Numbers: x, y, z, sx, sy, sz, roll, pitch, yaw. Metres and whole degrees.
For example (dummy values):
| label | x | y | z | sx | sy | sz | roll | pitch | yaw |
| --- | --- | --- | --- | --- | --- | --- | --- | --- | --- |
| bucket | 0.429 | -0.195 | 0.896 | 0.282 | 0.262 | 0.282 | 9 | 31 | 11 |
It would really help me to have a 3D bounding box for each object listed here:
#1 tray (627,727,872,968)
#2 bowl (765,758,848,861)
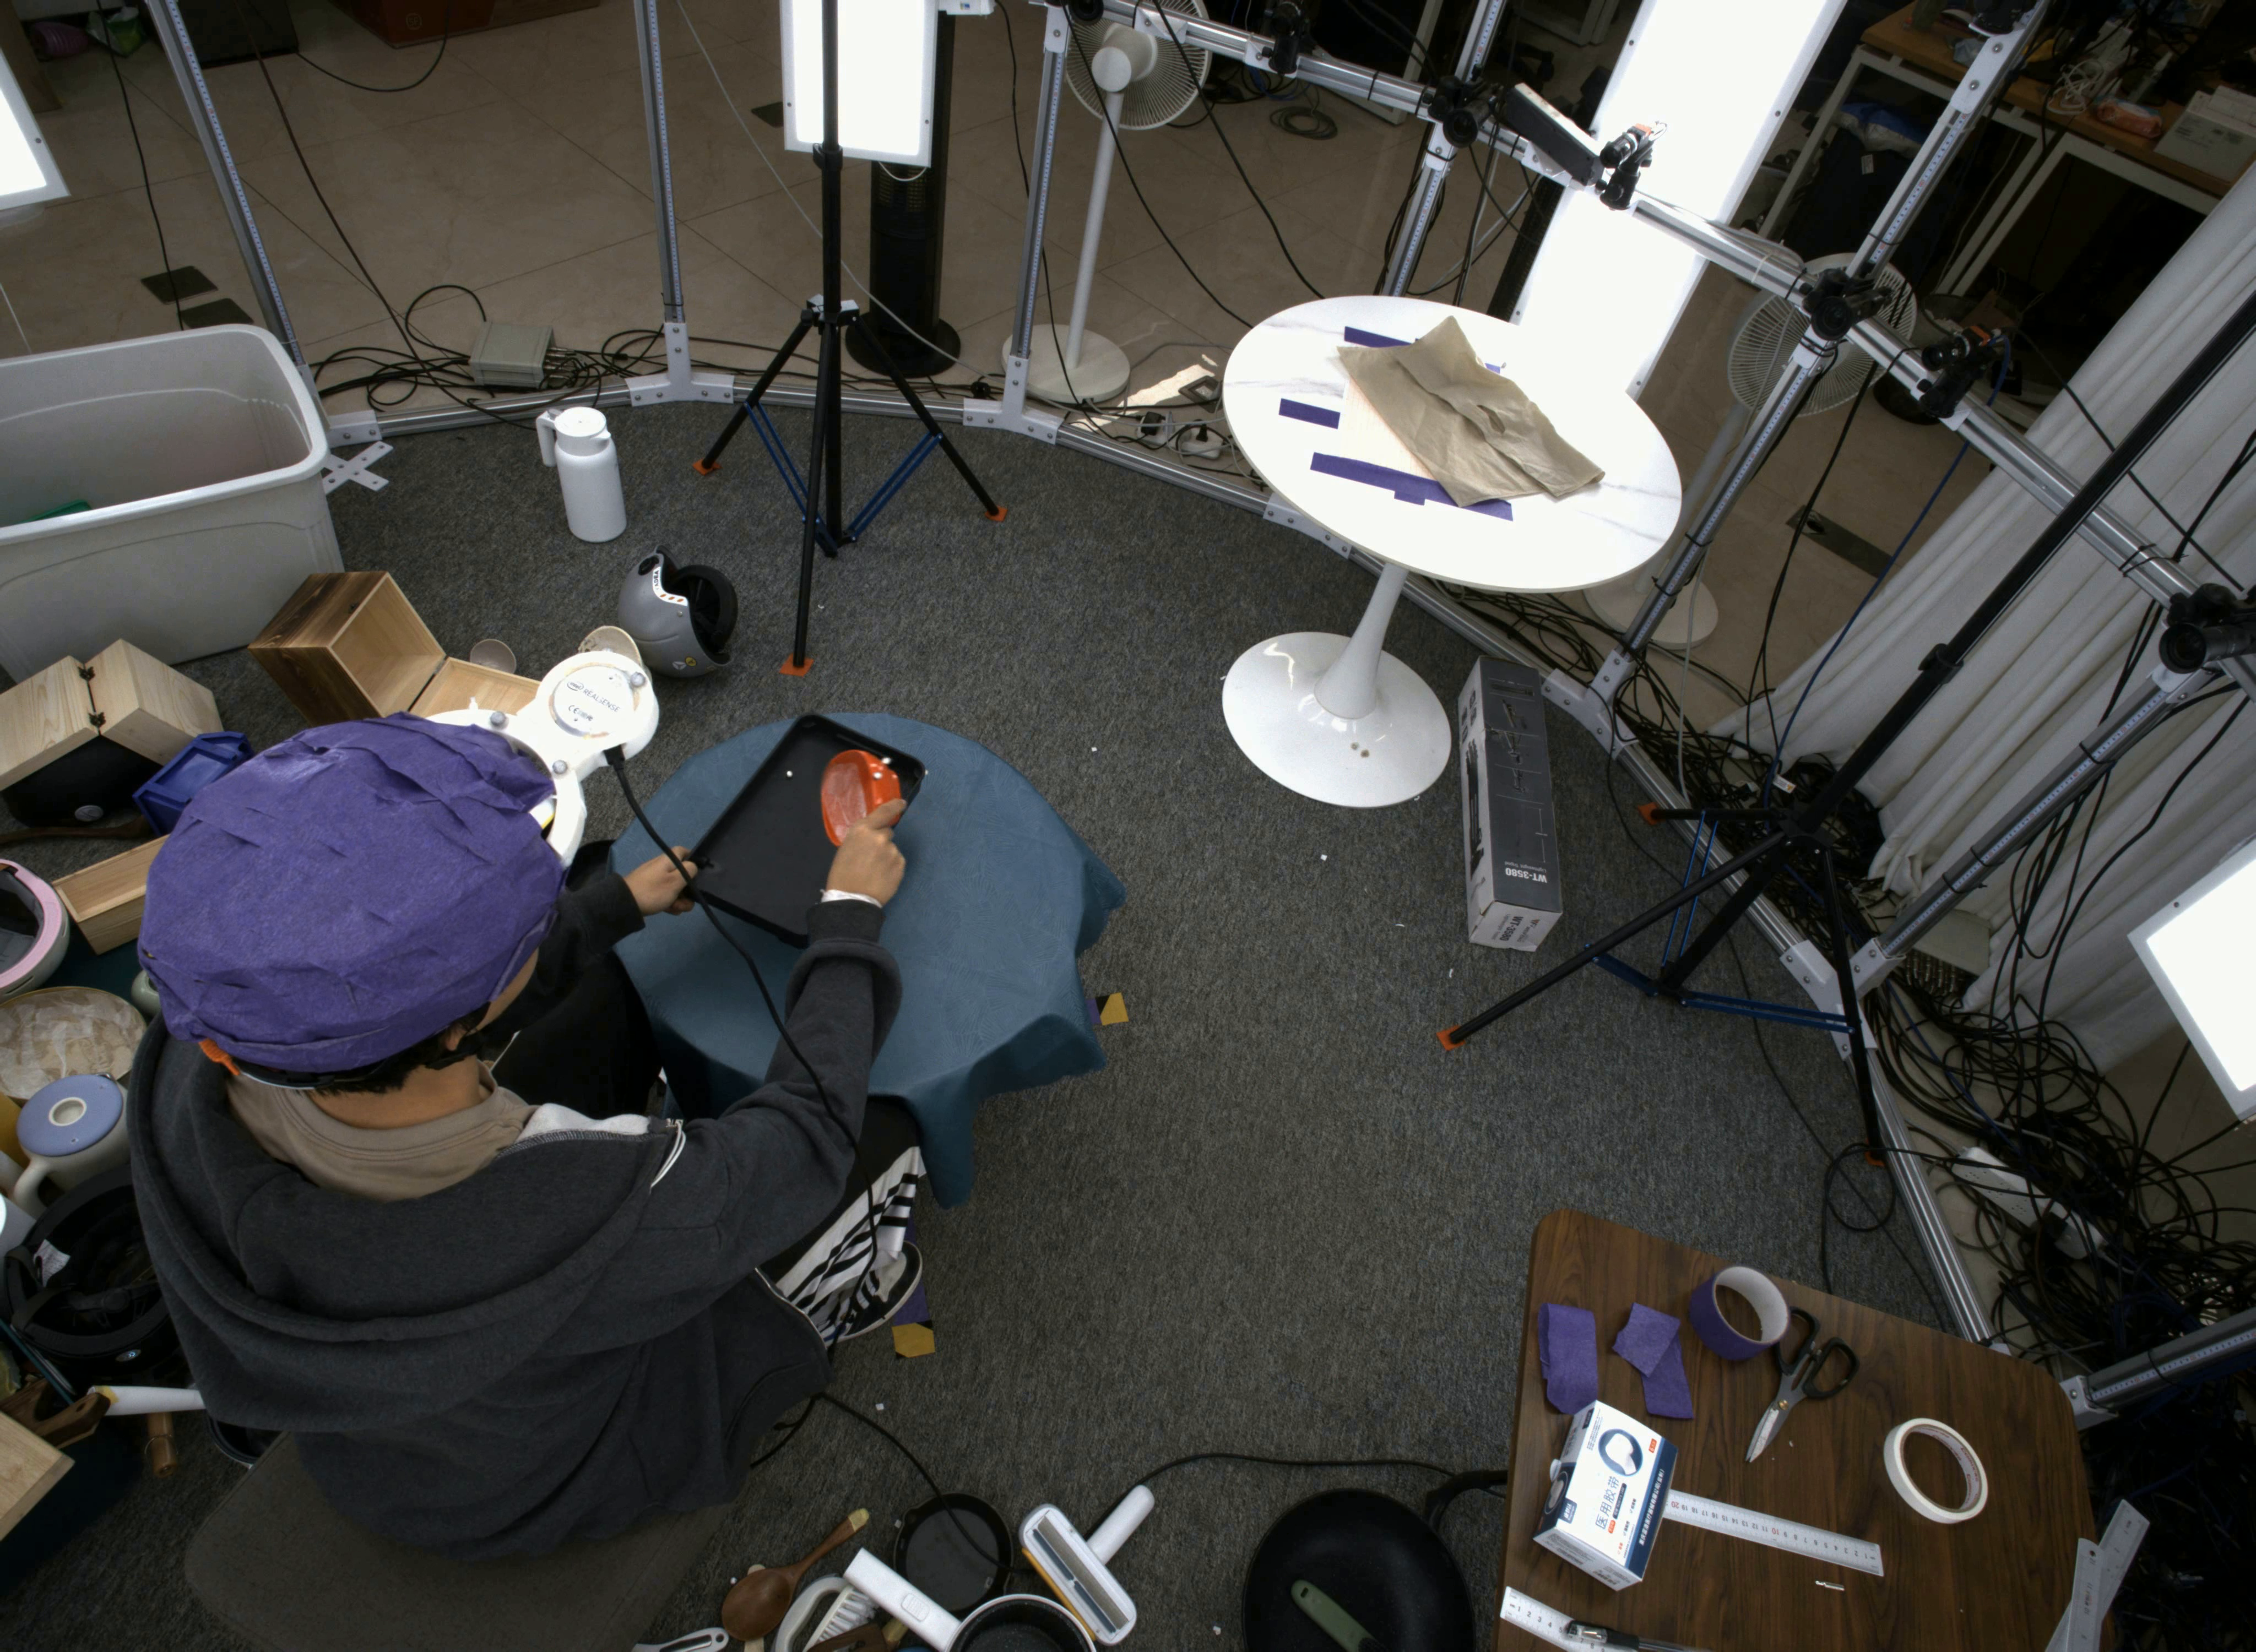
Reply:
| label | x | y | z | sx | sy | sz | roll | pitch | yaw |
| --- | --- | --- | --- | --- | --- | --- | --- | --- | --- |
| tray | -0.451 | 0.017 | 1.567 | 0.183 | 0.037 | 0.314 | 22 | 47 | -1 |
| bowl | -0.355 | -0.018 | 1.456 | 0.052 | 0.119 | 0.116 | -1 | 47 | -49 |
